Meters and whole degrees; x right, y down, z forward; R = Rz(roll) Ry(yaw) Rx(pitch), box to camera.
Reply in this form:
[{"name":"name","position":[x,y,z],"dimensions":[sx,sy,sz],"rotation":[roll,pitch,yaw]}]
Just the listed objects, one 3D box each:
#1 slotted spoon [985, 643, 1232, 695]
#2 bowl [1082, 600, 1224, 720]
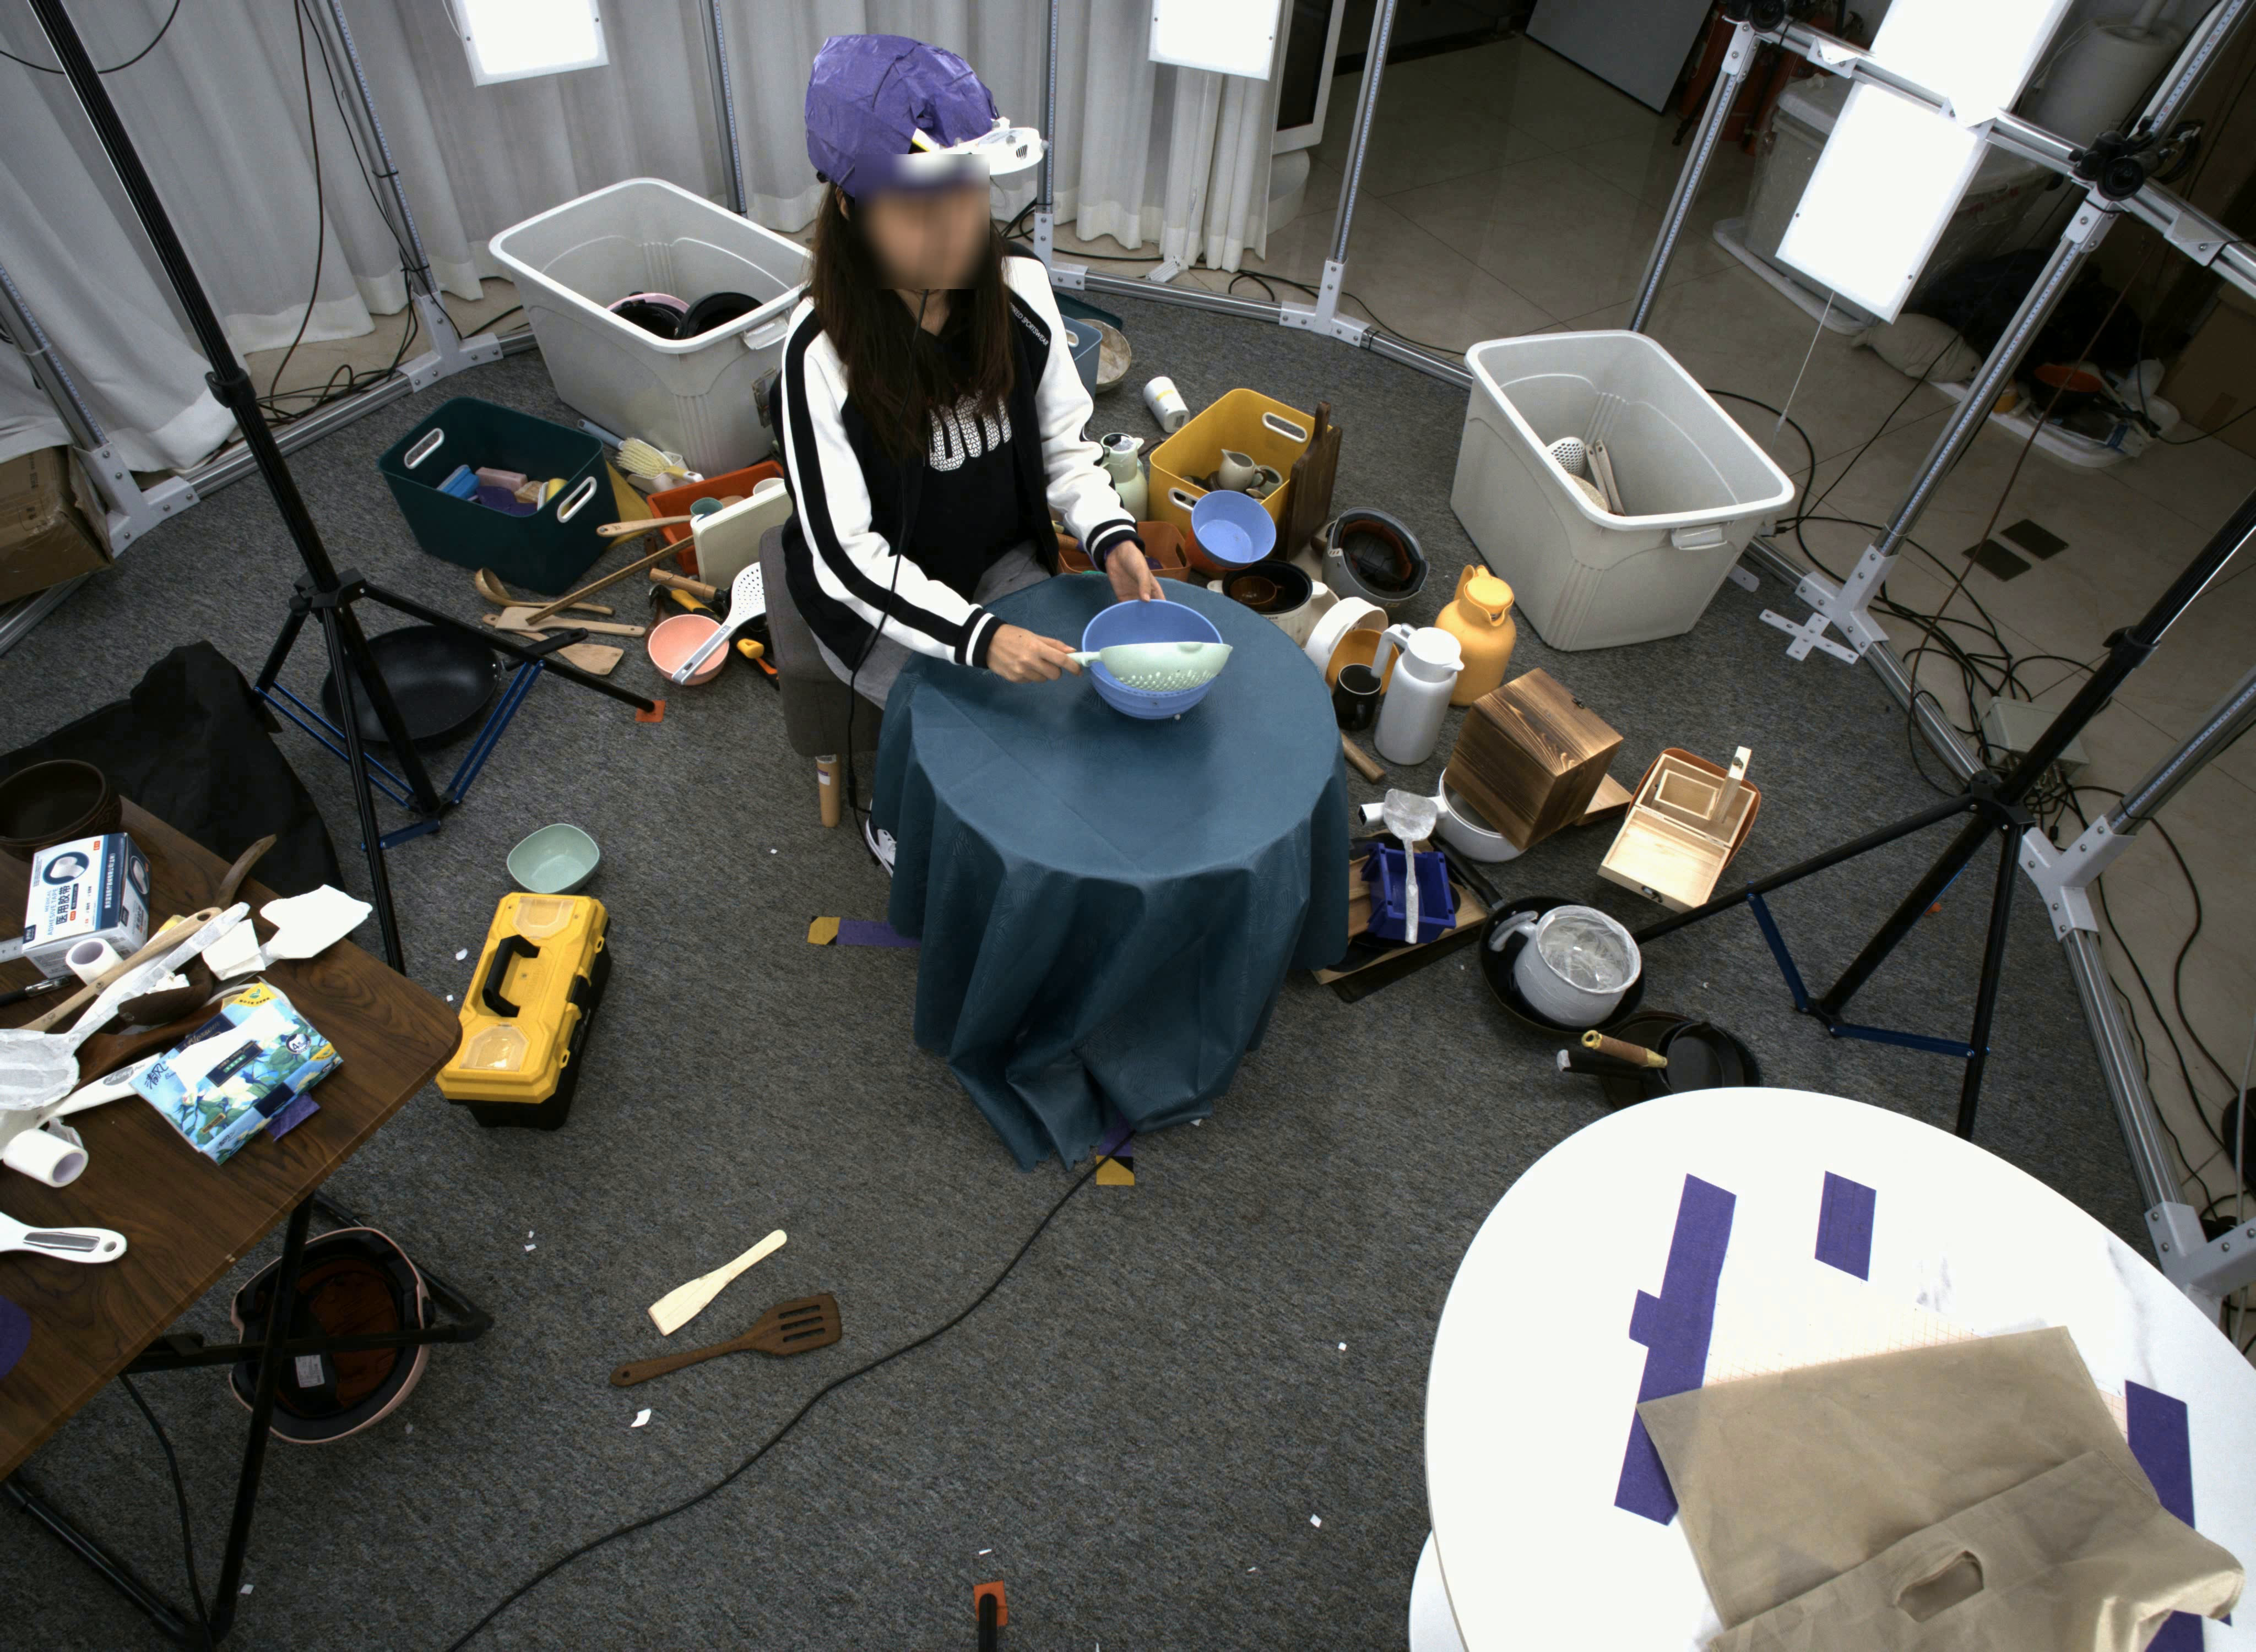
[{"name":"slotted spoon","position":[-0.038,-0.215,1.718],"dimensions":[0.361,0.075,0.169],"rotation":[7,7,27]},{"name":"bowl","position":[0.032,-0.217,1.800],"dimensions":[0.196,0.093,0.201],"rotation":[2,49,-2]}]
